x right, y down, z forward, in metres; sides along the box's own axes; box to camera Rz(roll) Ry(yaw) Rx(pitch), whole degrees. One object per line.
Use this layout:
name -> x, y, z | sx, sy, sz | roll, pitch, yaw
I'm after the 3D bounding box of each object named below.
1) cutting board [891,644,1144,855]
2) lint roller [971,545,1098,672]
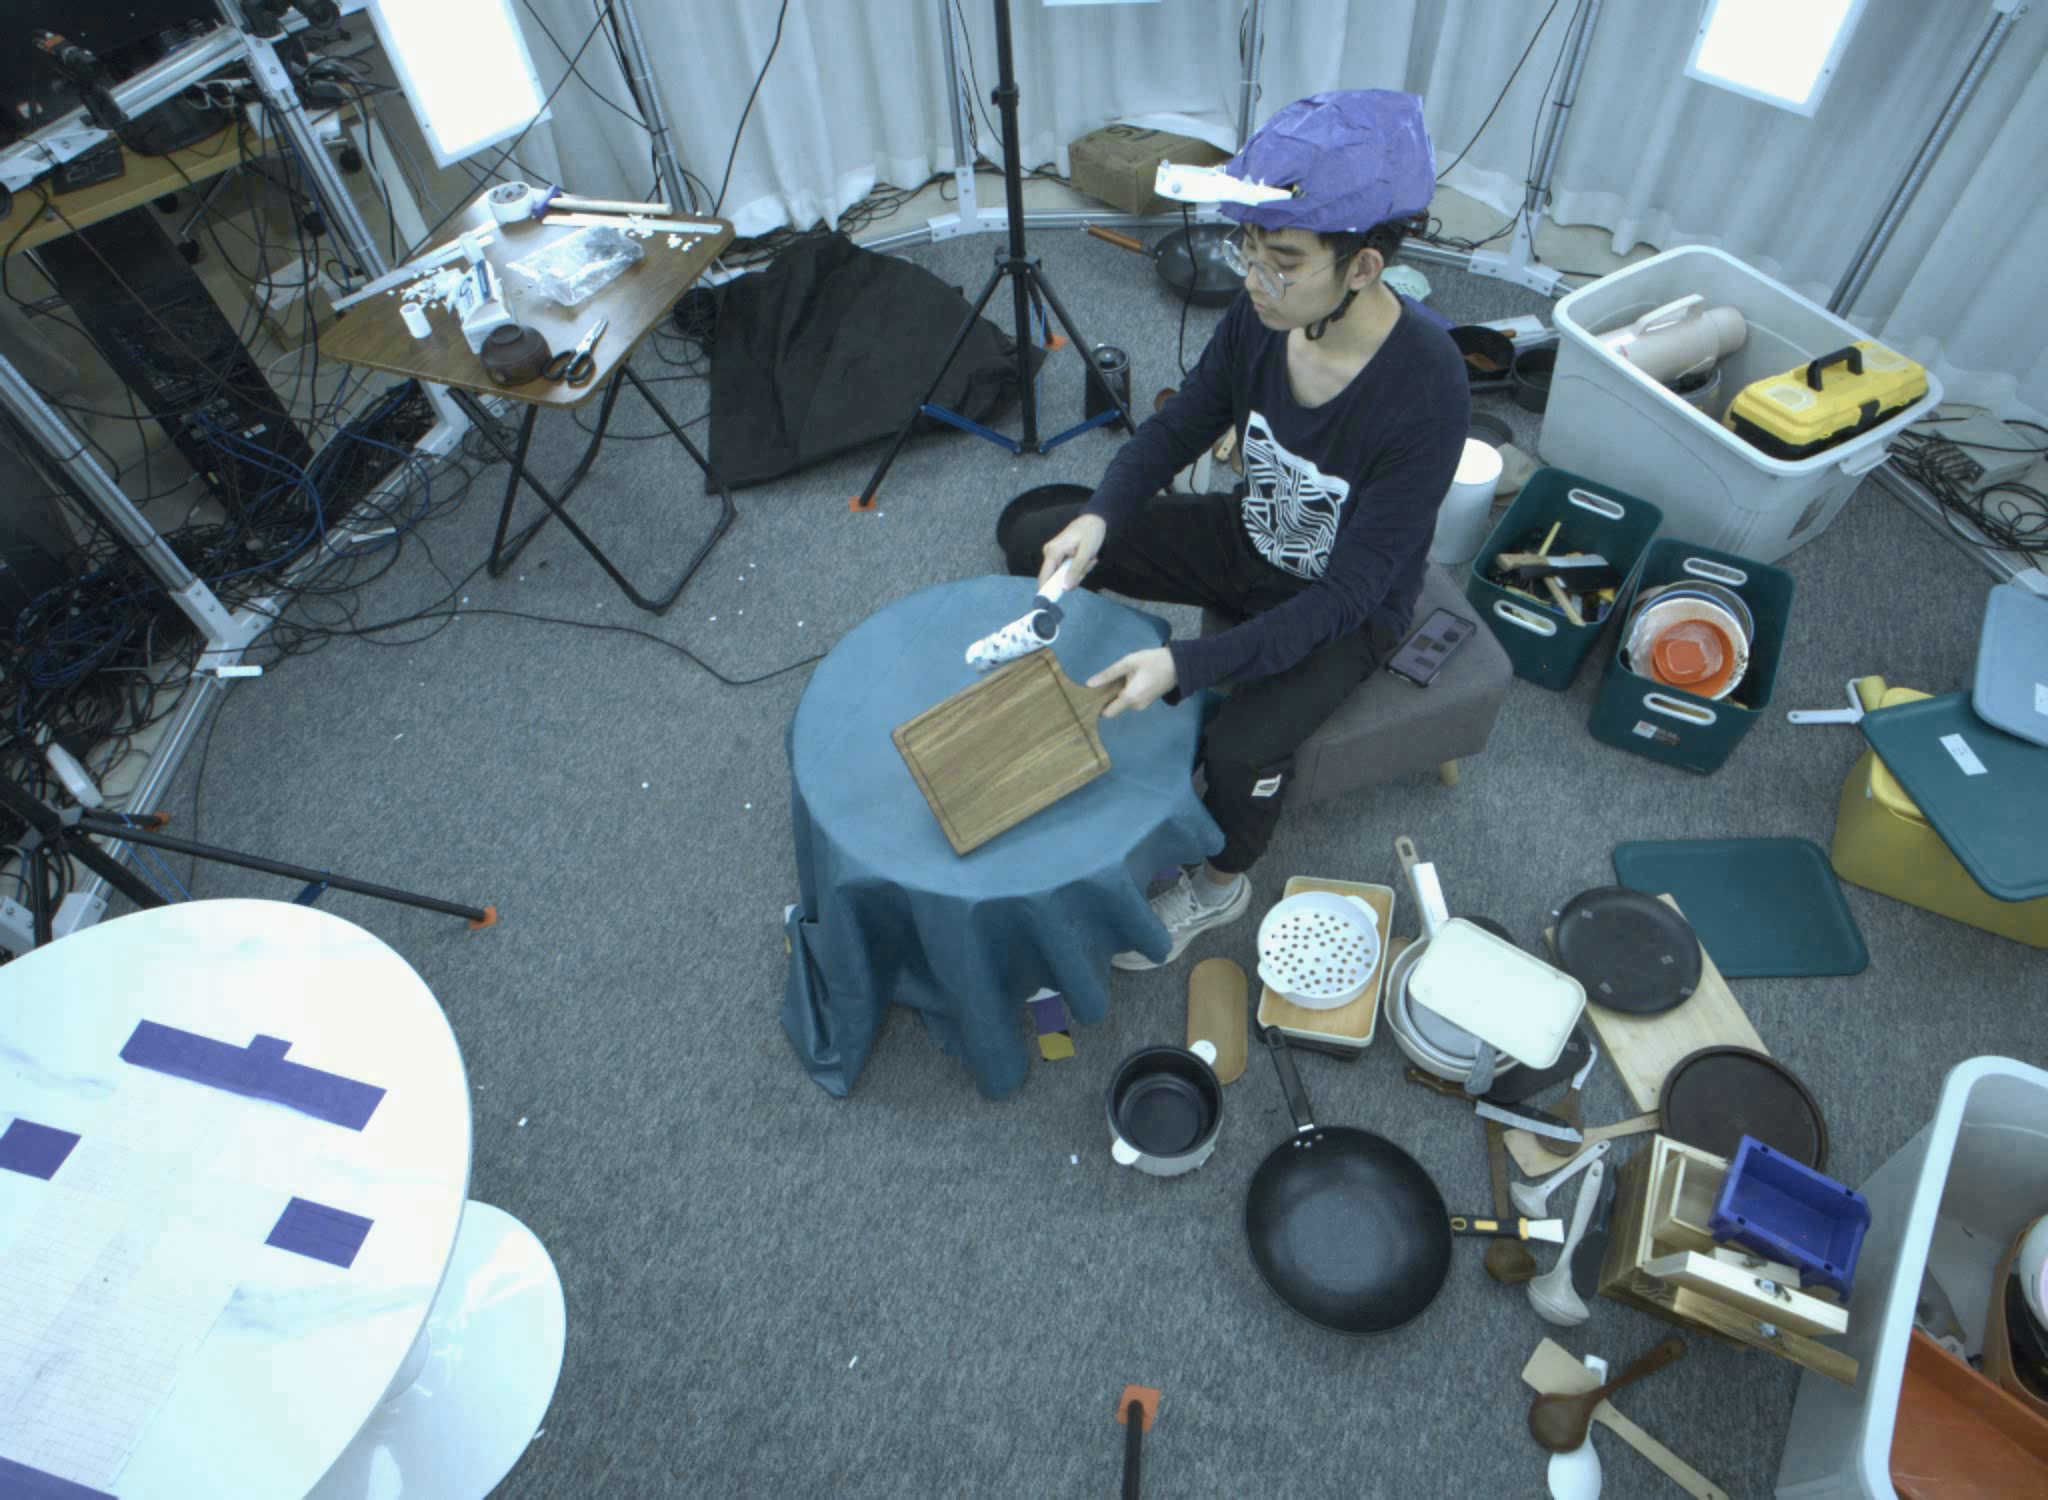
cutting board -> 0.014, -0.025, 1.696 | 0.354, 0.023, 0.202 | -31, 101, -9
lint roller -> 0.034, -0.221, 1.760 | 0.051, 0.173, 0.248 | 46, 55, -16
